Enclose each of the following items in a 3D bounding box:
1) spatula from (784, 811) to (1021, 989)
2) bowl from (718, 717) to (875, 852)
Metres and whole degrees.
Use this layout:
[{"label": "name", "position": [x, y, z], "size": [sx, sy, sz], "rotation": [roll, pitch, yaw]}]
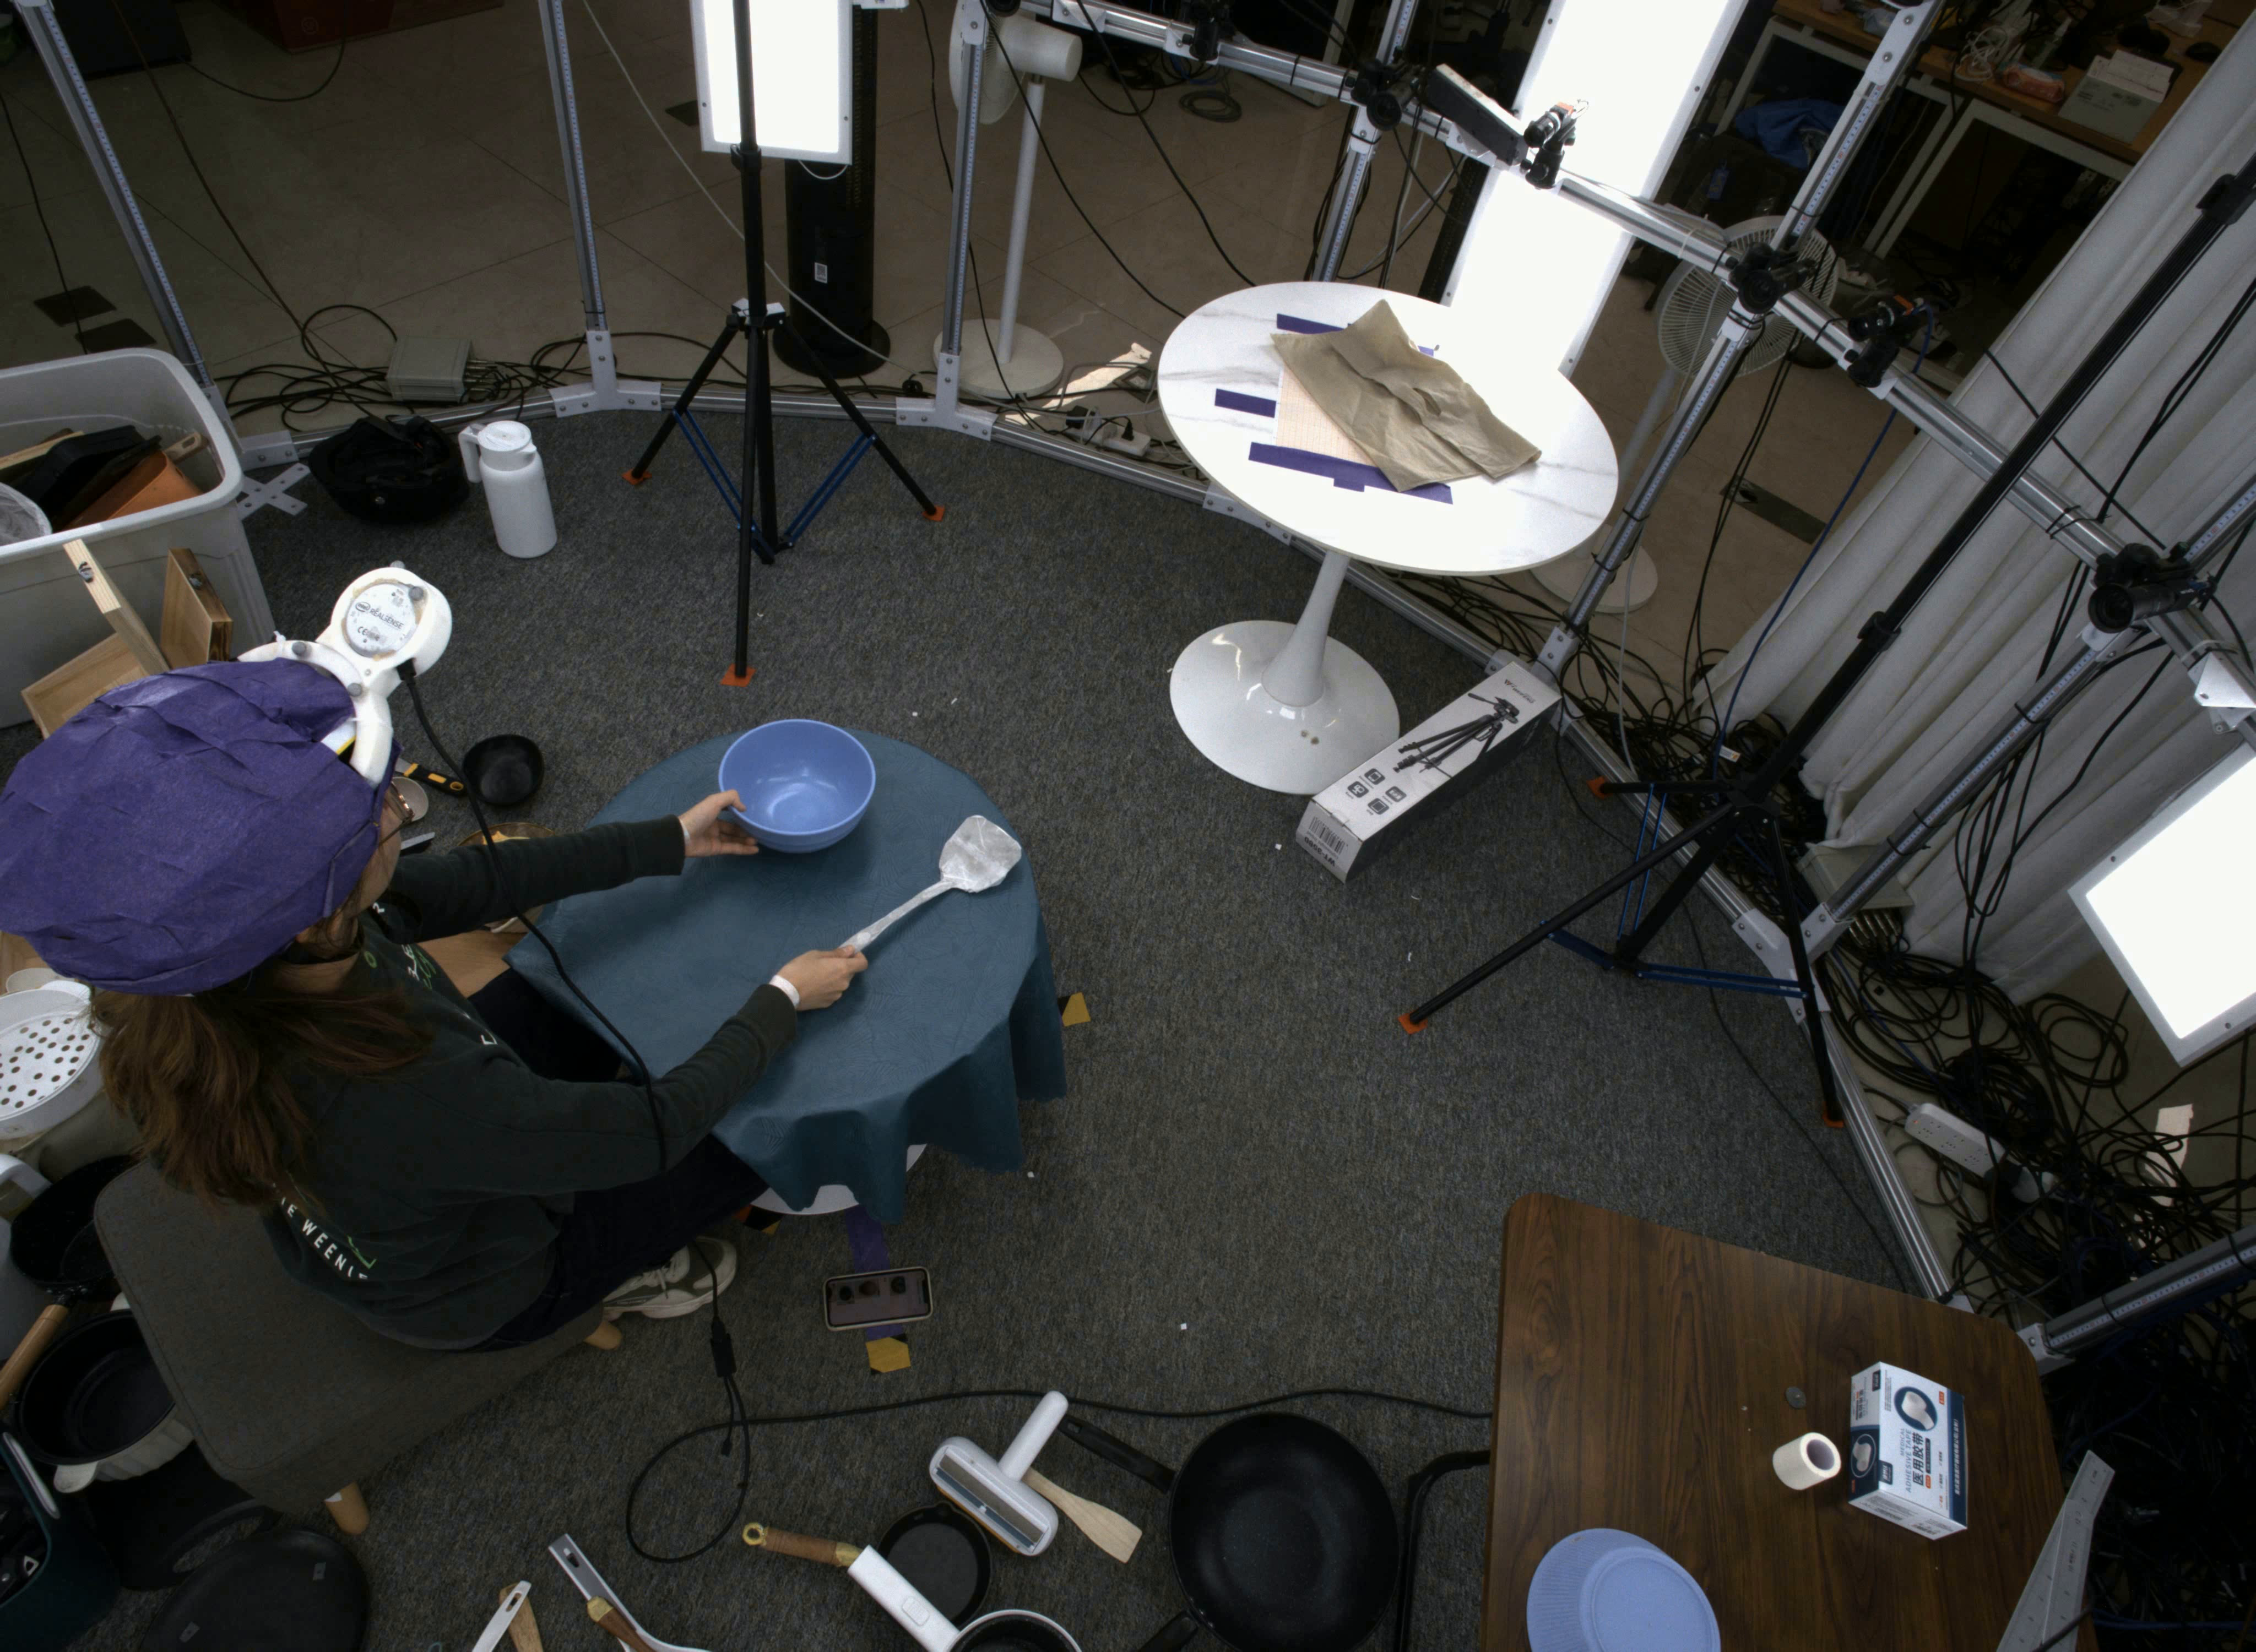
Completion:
[{"label": "spatula", "position": [-0.288, 0.099, 1.656], "size": [0.096, 0.045, 0.366], "rotation": [40, 50, 17]}, {"label": "bowl", "position": [-0.432, -0.039, 1.692], "size": [0.196, 0.097, 0.193], "rotation": [9, 49, -9]}]
